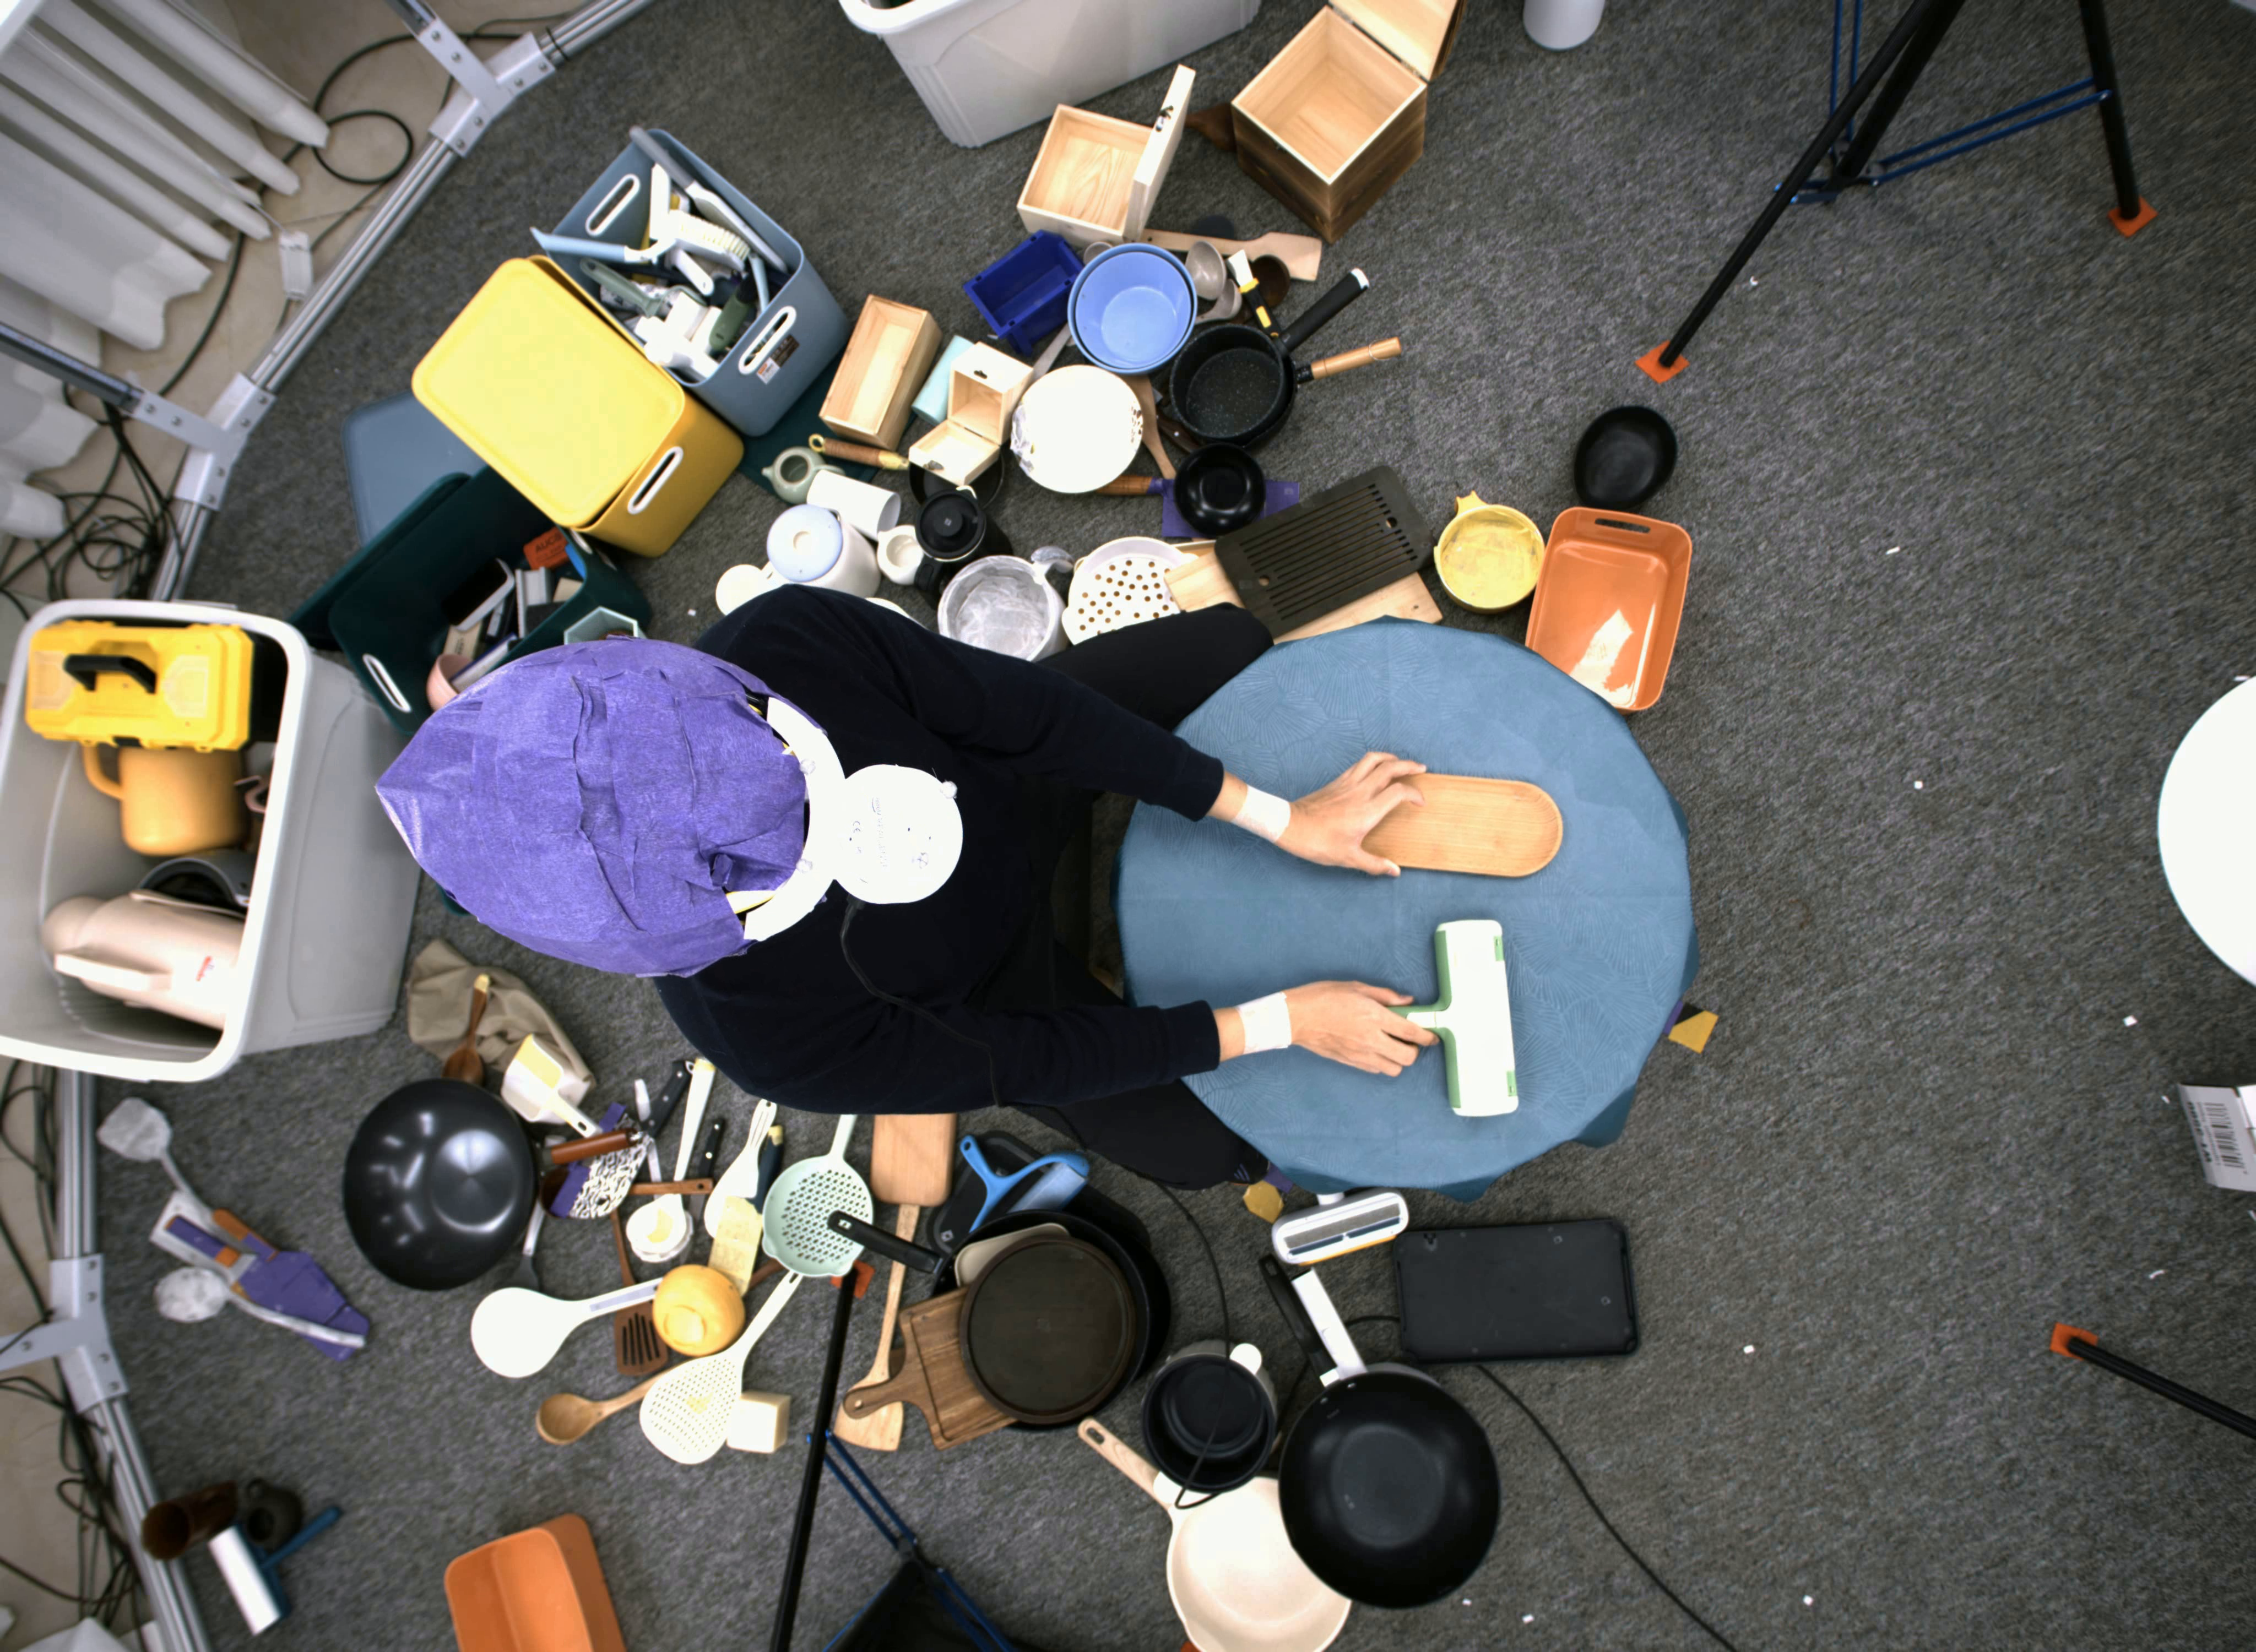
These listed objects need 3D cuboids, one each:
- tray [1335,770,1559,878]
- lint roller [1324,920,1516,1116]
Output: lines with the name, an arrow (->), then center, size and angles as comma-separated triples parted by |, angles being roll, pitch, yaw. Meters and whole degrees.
tray -> 0.333, -0.004, 1.444 | 0.232, 0.020, 0.101 | 5, 88, 12
lint roller -> 0.294, 0.197, 1.402 | 0.183, 0.082, 0.197 | -4, 85, 2
